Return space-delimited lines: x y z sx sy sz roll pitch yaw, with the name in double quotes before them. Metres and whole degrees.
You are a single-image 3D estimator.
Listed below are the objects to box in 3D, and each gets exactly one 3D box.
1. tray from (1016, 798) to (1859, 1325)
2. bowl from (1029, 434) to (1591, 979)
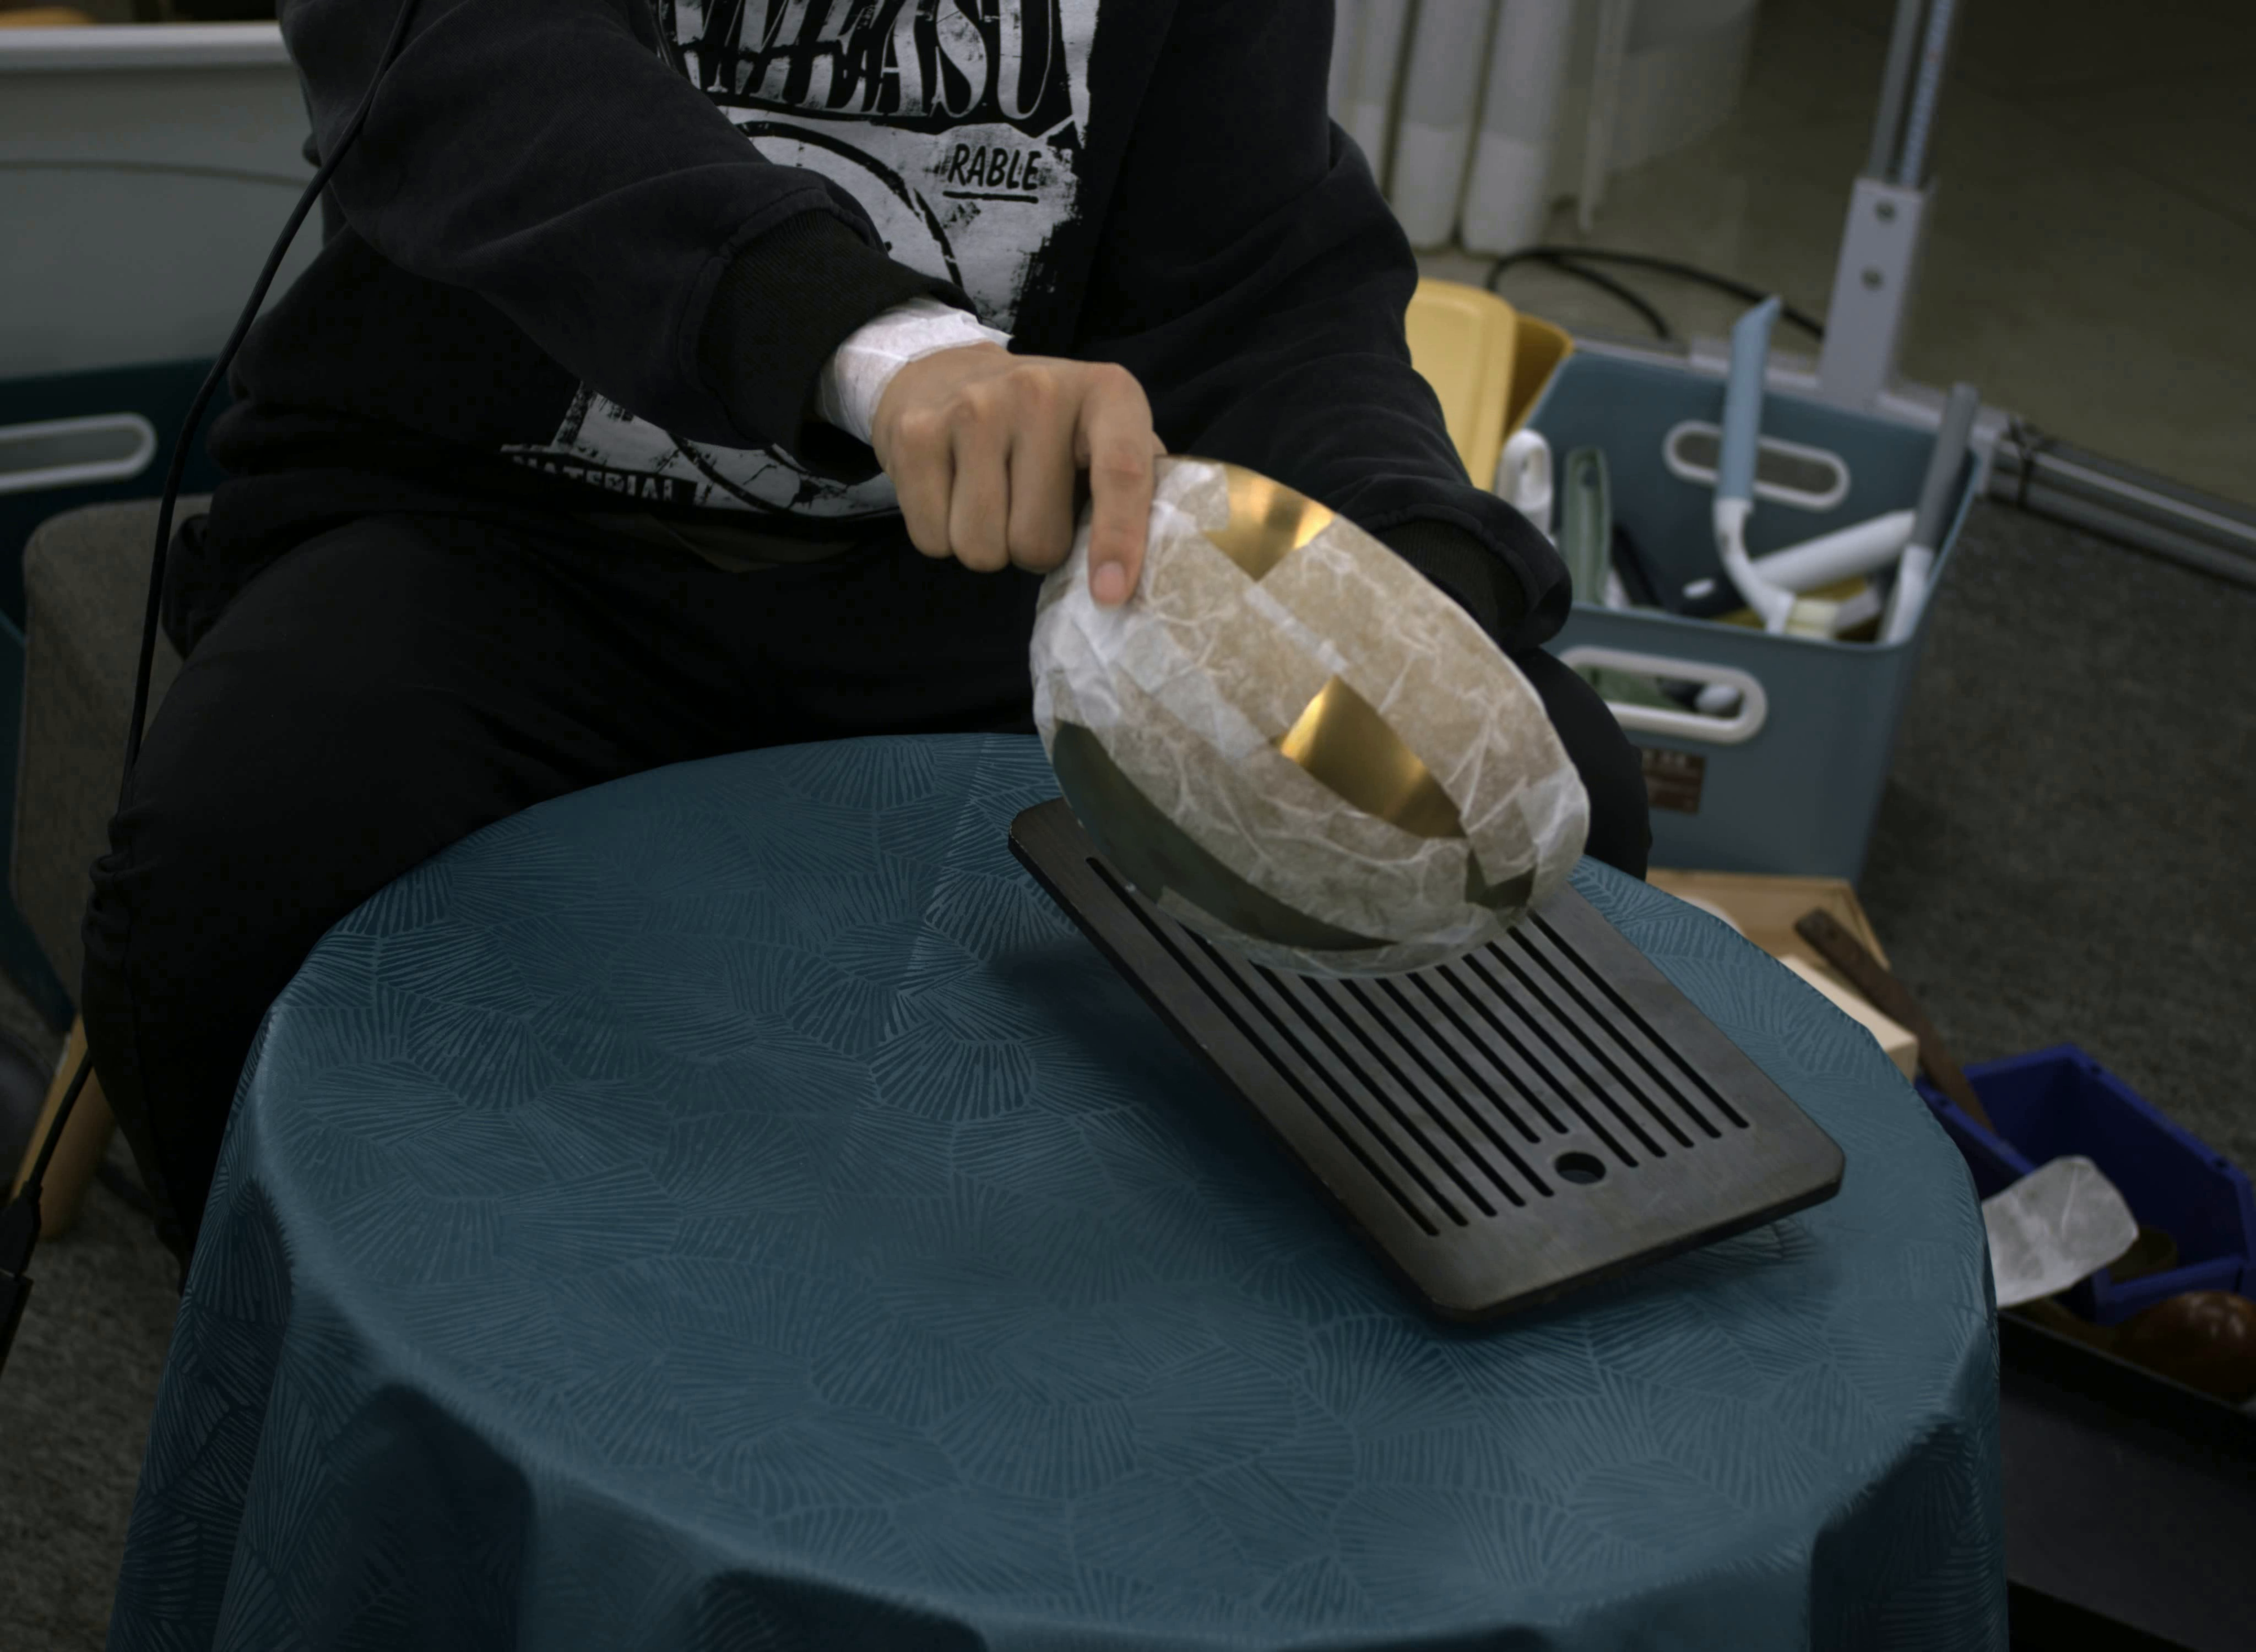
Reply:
"tray" 0.103 0.063 1.869 0.169 0.018 0.309 -16 40 -26
"bowl" 0.040 -0.018 1.723 0.216 0.213 0.094 26 64 33
